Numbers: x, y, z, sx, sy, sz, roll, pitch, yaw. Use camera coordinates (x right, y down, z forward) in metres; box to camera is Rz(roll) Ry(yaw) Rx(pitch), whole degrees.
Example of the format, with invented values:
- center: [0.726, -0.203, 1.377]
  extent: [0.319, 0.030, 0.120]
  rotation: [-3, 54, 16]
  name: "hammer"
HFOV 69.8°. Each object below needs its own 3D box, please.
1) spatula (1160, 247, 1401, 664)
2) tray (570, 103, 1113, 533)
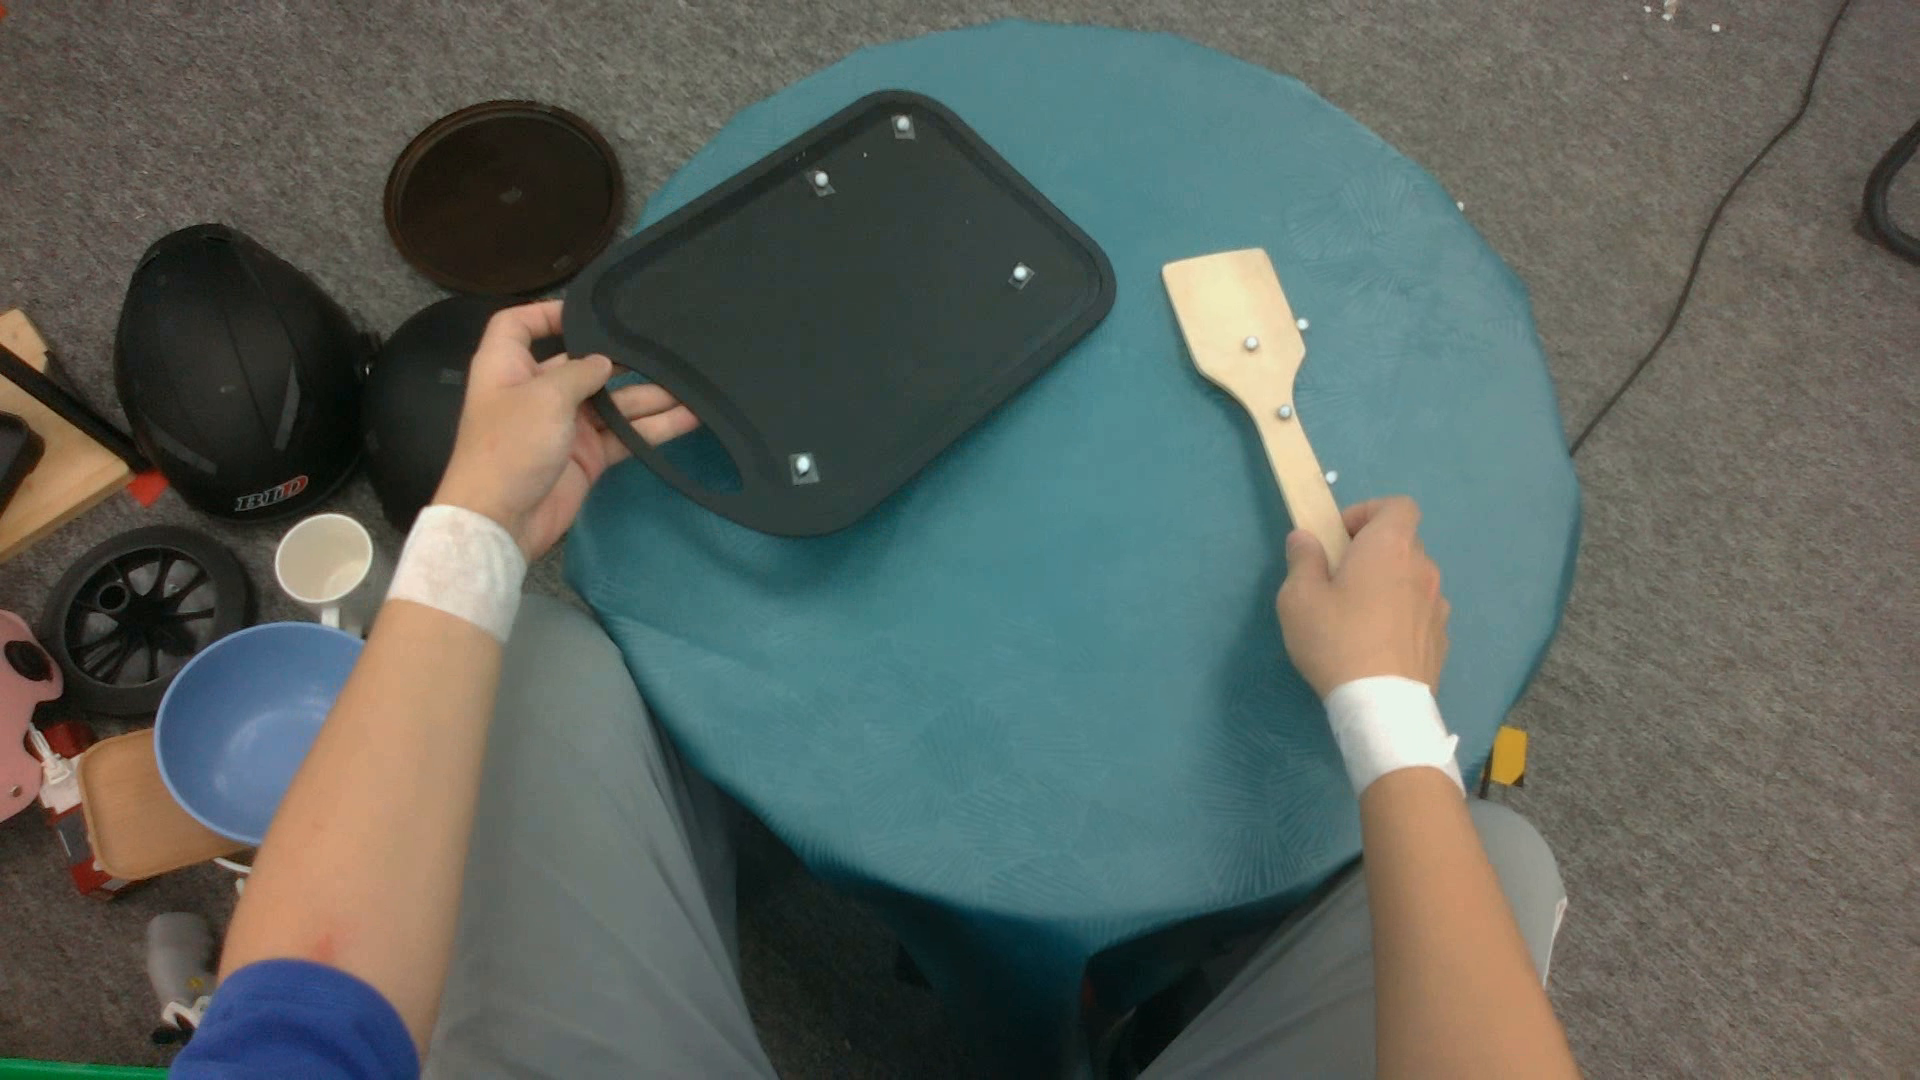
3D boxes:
- center: [0.194, -0.058, 0.811]
  extent: [0.072, 0.010, 0.294]
  rotation: [-12, 61, -7]
  name: "spatula"
- center: [-0.064, -0.140, 0.812]
  extent: [0.211, 0.010, 0.327]
  rotation: [42, 59, 10]
  name: "tray"
